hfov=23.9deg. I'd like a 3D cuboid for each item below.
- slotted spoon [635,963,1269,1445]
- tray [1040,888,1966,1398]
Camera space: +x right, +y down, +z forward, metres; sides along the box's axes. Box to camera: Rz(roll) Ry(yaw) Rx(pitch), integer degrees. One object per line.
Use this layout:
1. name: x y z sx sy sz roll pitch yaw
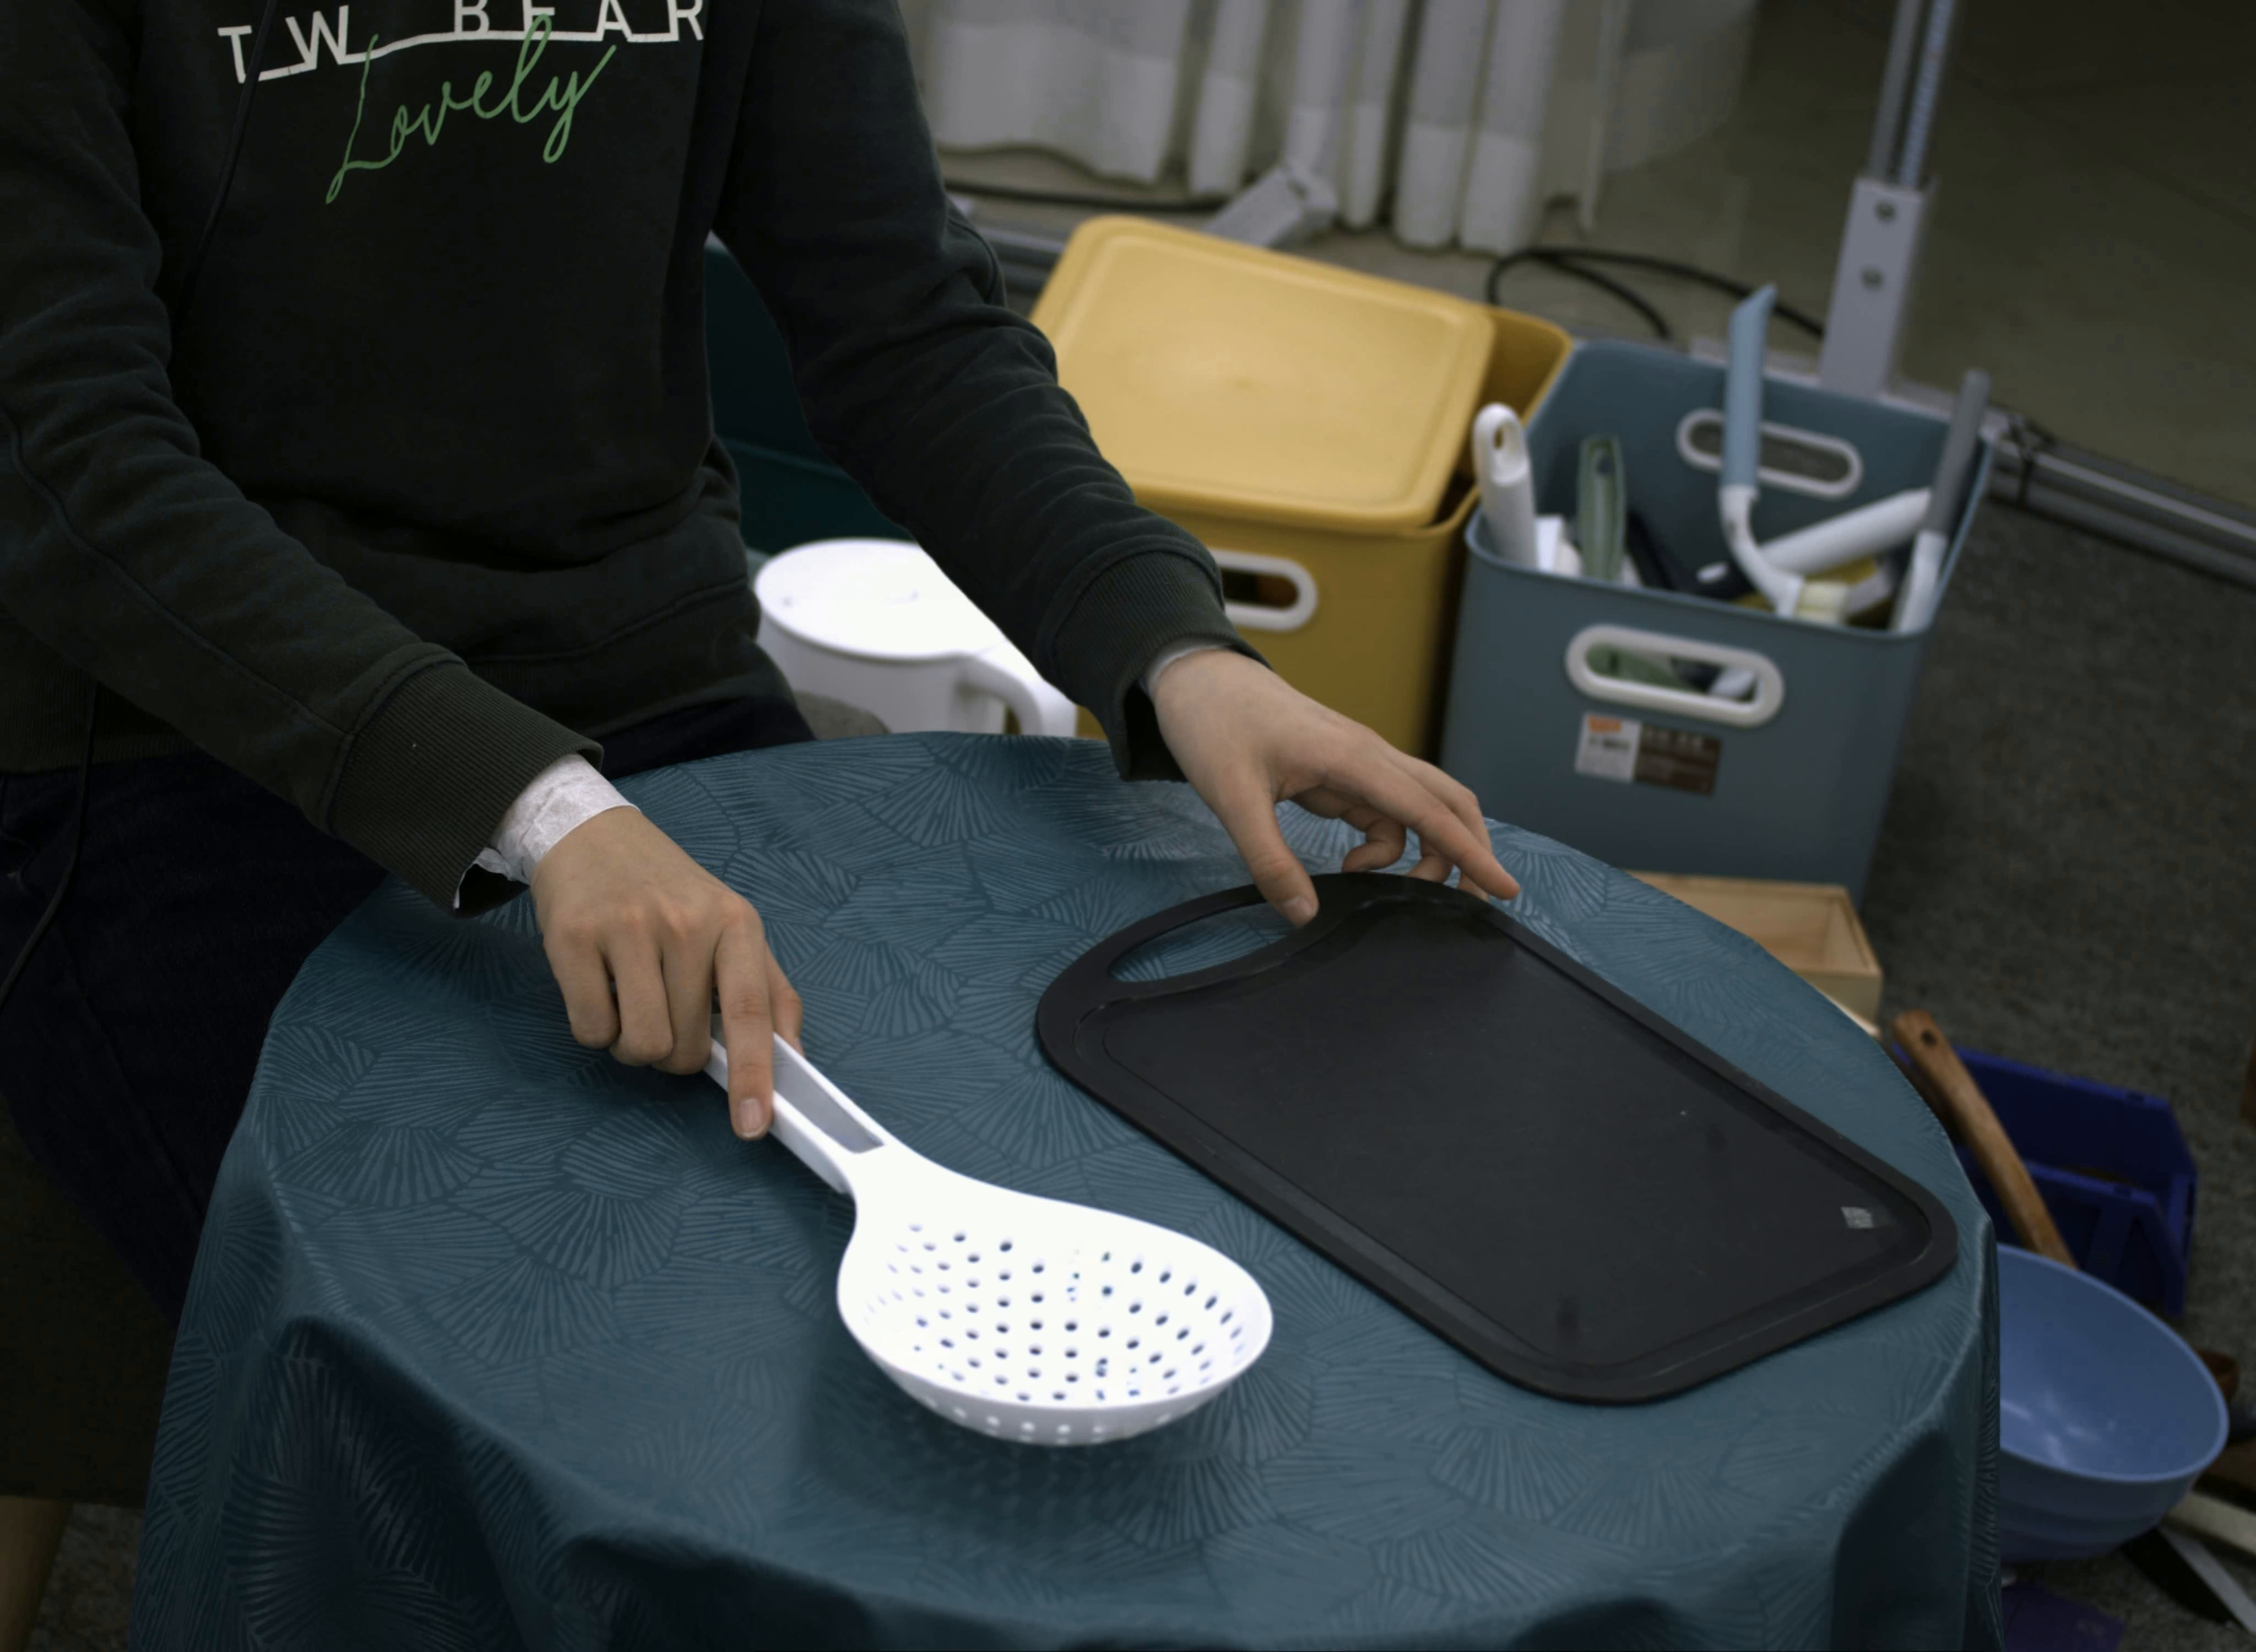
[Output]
1. slotted spoon: -0.078 0.117 1.745 0.135 0.045 0.353 -7 29 -29
2. tray: 0.121 0.101 1.860 0.210 0.010 0.328 -17 35 -37
